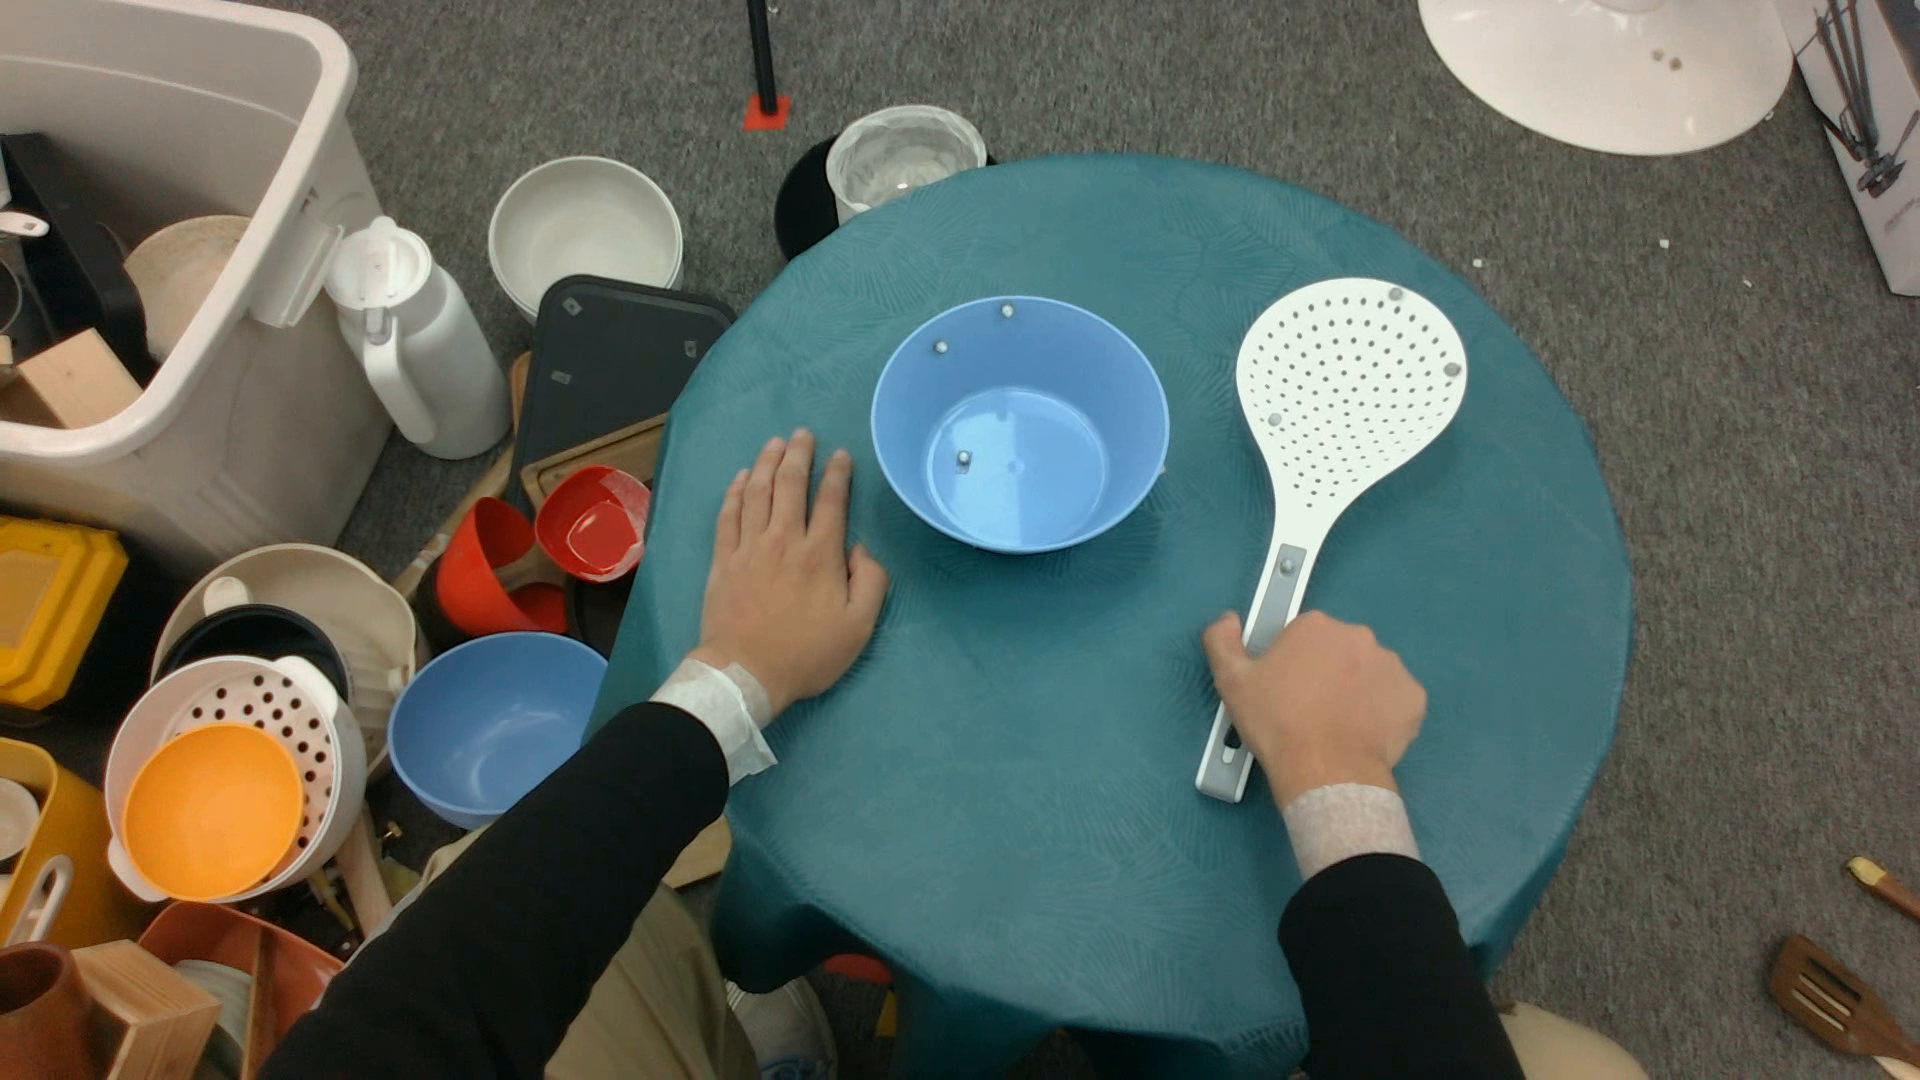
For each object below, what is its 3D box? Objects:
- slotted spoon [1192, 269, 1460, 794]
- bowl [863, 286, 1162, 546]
[{"bbox_3d":[0.204,-0.014,0.827,0.136,0.045,0.351,17,65,14],"label":"slotted spoon"},{"bbox_3d":[0.030,-0.063,0.834,0.176,0.070,0.176,1,65,-1],"label":"bowl"}]
